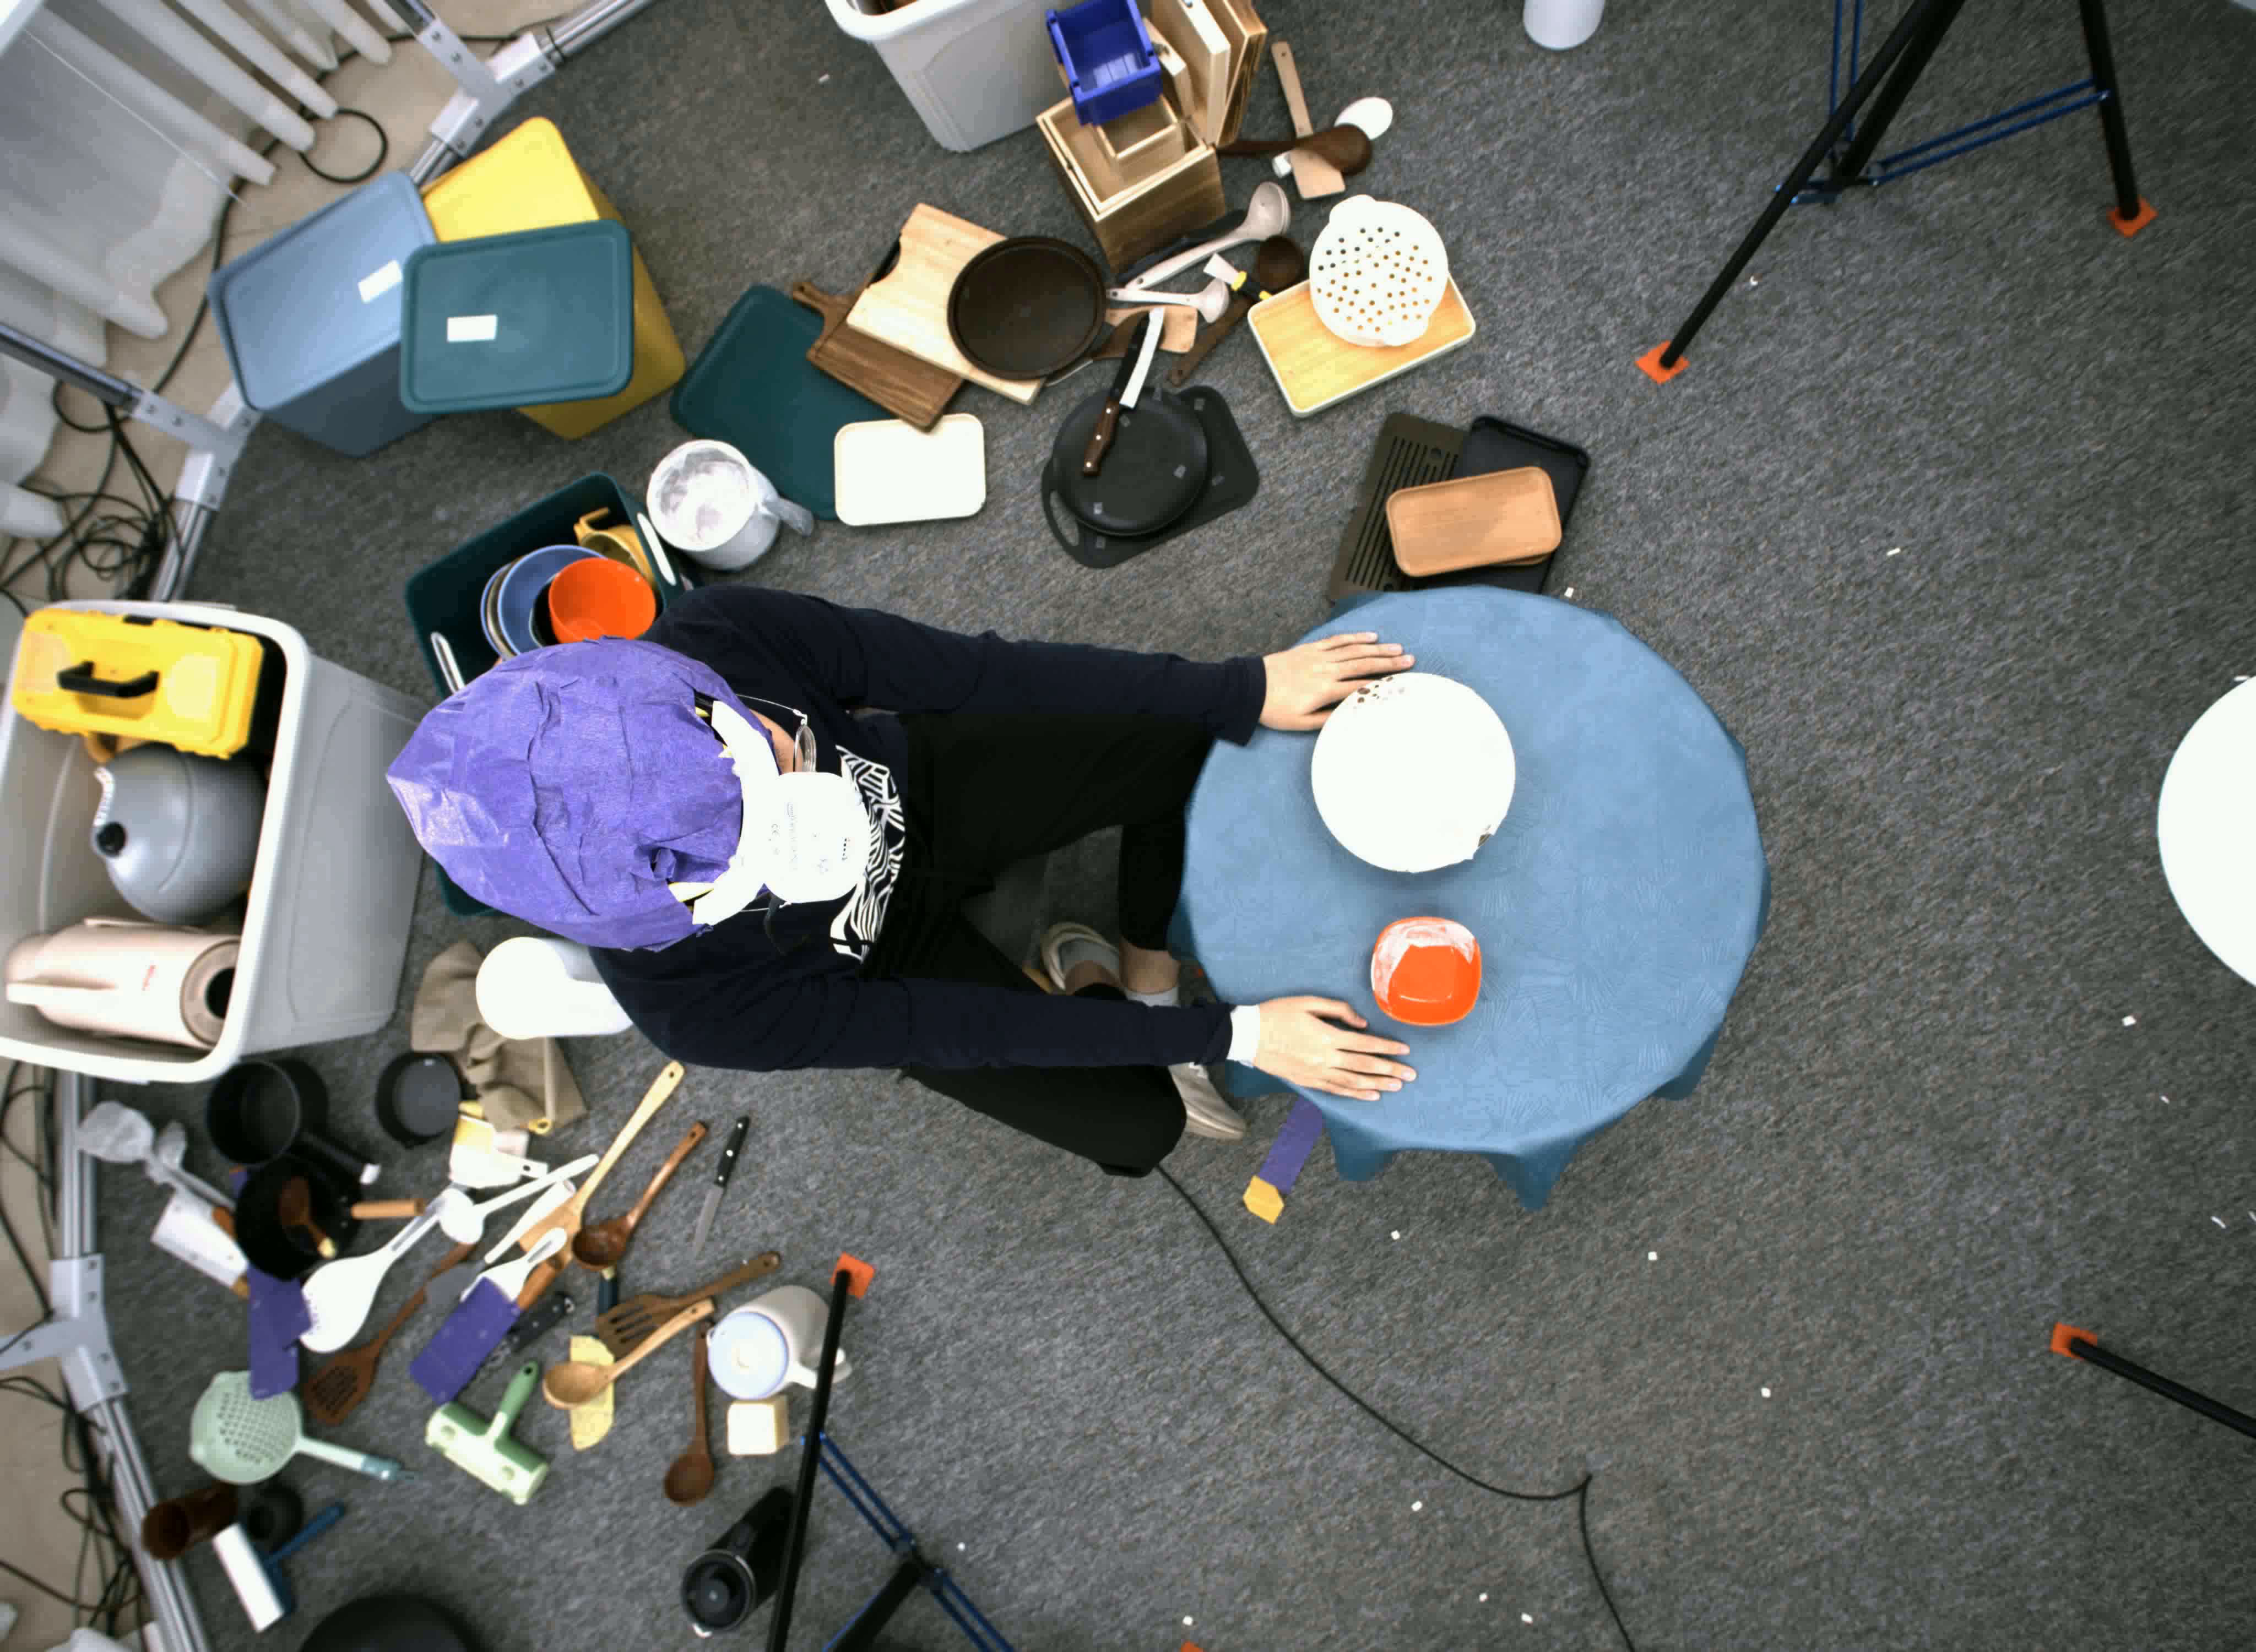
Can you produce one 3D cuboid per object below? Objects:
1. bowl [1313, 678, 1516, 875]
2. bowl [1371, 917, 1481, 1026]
[{"bbox_3d":[0.296,-0.047,1.425,0.205,0.078,0.202,-2,83,14],"label":"bowl"},{"bbox_3d":[0.305,0.147,1.422,0.119,0.051,0.118,-1,88,10],"label":"bowl"}]
